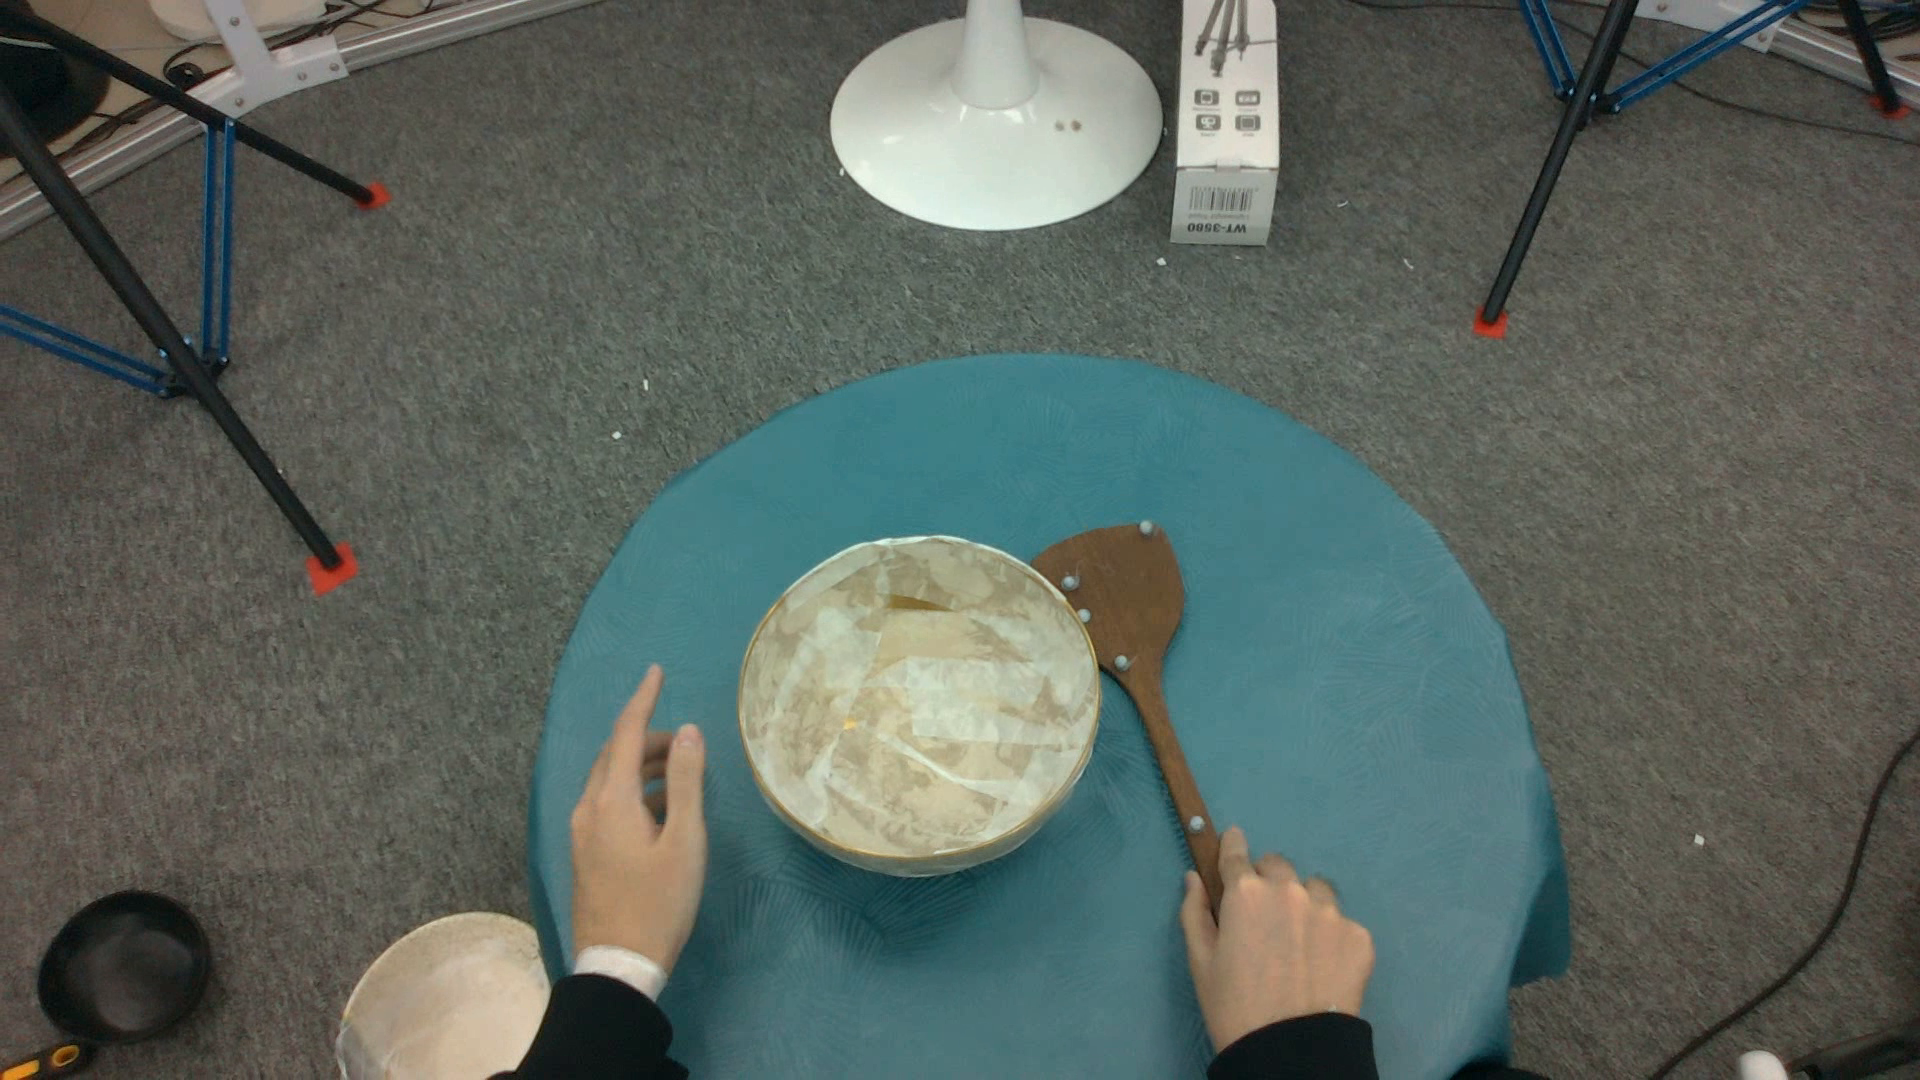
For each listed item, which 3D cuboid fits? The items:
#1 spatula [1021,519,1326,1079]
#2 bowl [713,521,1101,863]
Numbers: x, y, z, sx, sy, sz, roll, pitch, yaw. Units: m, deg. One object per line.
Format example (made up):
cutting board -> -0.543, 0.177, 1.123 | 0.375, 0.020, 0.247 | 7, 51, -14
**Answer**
spatula -> 0.127, 0.141, 0.793 | 0.096, 0.016, 0.387 | -13, 54, -7
bowl -> -0.029, 0.099, 0.782 | 0.215, 0.094, 0.215 | 1, 55, -1
